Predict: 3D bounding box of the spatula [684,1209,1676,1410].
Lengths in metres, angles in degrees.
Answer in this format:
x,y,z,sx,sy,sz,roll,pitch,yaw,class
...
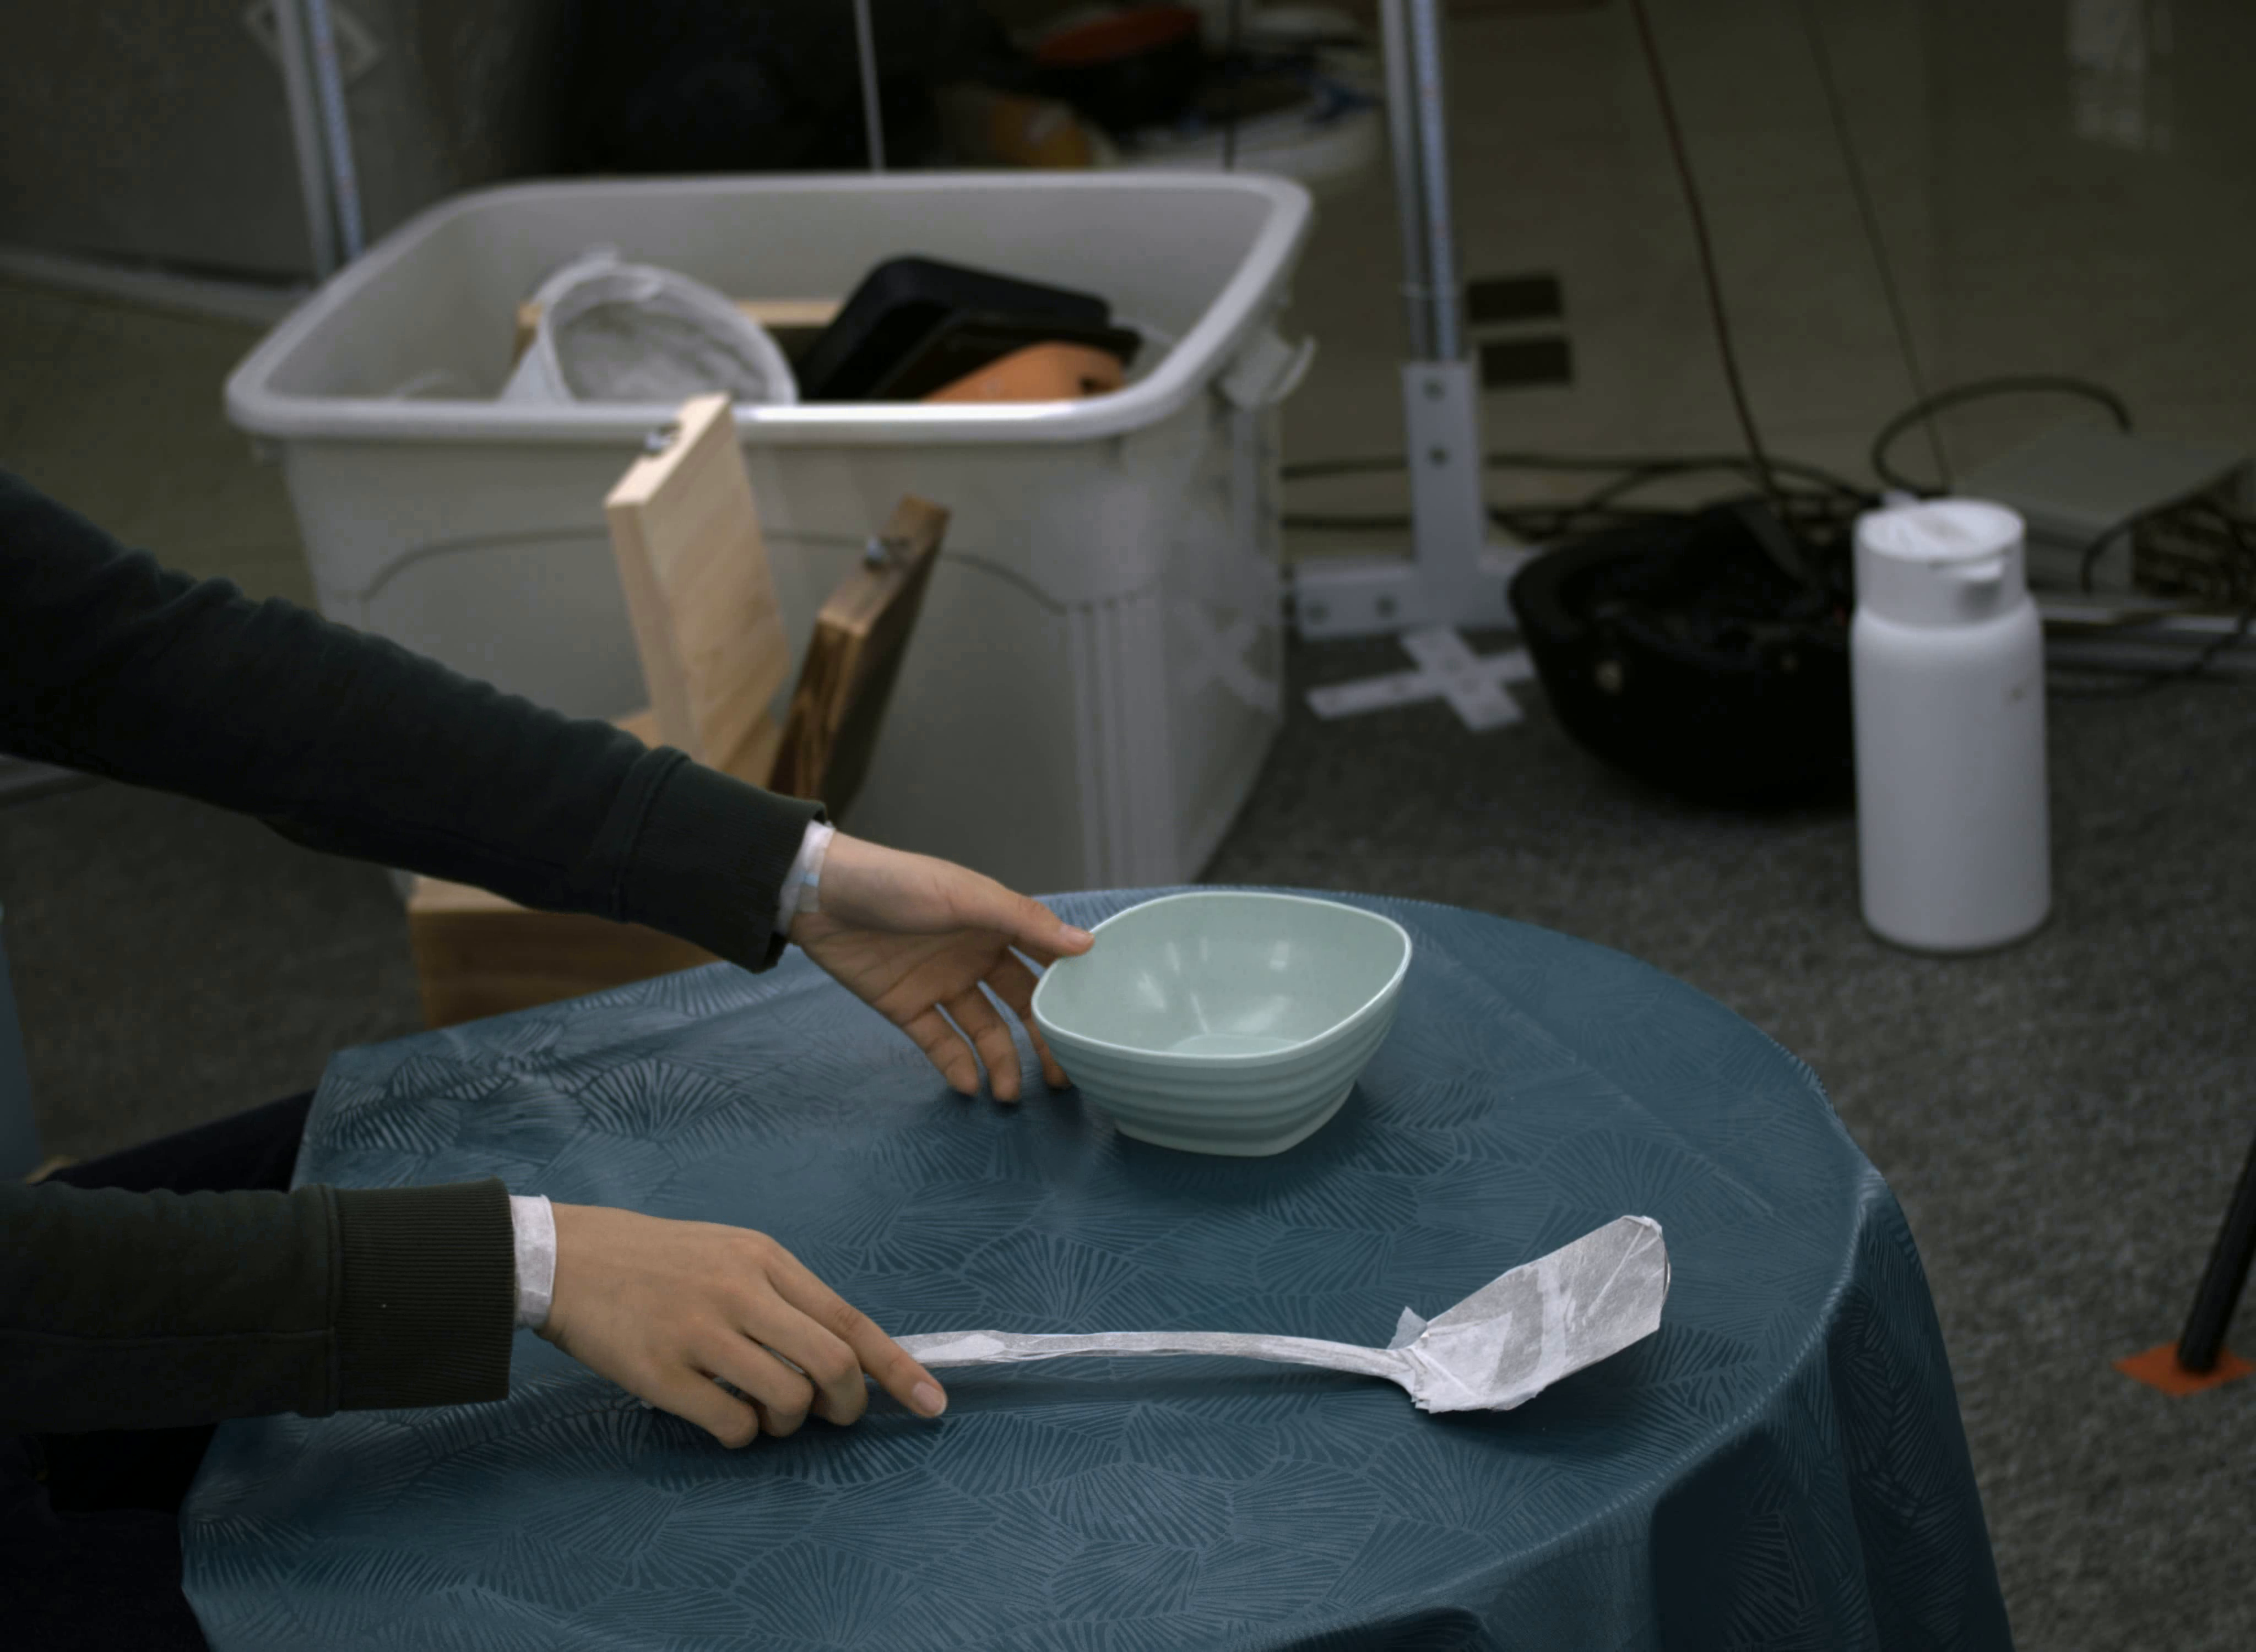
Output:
x,y,z,sx,sy,sz,roll,pitch,yaw,class
0.013,0.179,2.017,0.364,0.045,0.097,-2,27,9,spatula

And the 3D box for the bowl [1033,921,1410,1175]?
x,y,z,sx,sy,sz,roll,pitch,yaw,class
0.041,0.091,2.194,0.151,0.059,0.149,-9,22,4,bowl
